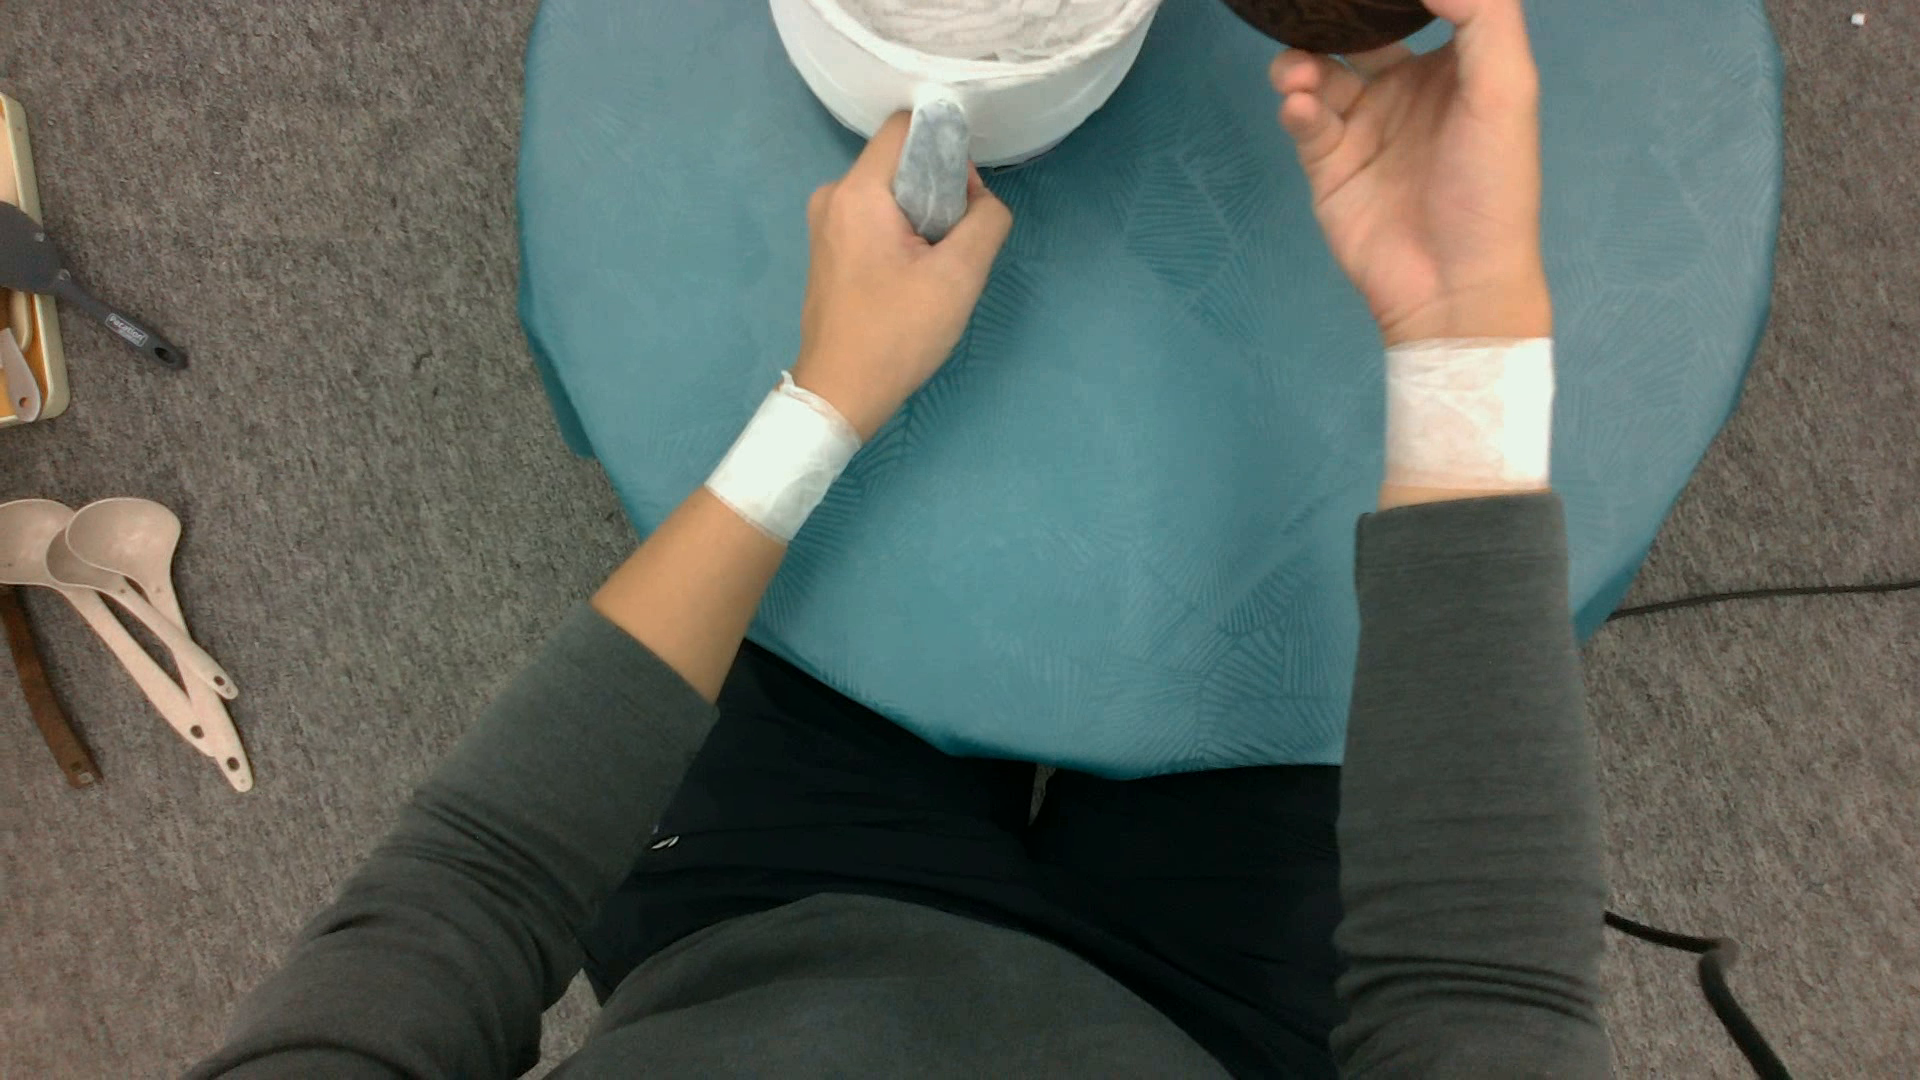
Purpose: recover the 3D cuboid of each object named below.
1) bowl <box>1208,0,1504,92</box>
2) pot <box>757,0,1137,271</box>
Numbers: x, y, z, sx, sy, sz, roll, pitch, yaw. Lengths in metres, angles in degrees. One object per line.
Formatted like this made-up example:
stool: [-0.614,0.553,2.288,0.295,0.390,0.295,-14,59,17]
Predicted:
bowl: [0.136,-0.220,0.504,0.118,0.069,0.118,2,85,-21]
pot: [-0.007,-0.238,0.588,0.179,0.136,0.234,7,88,-3]
